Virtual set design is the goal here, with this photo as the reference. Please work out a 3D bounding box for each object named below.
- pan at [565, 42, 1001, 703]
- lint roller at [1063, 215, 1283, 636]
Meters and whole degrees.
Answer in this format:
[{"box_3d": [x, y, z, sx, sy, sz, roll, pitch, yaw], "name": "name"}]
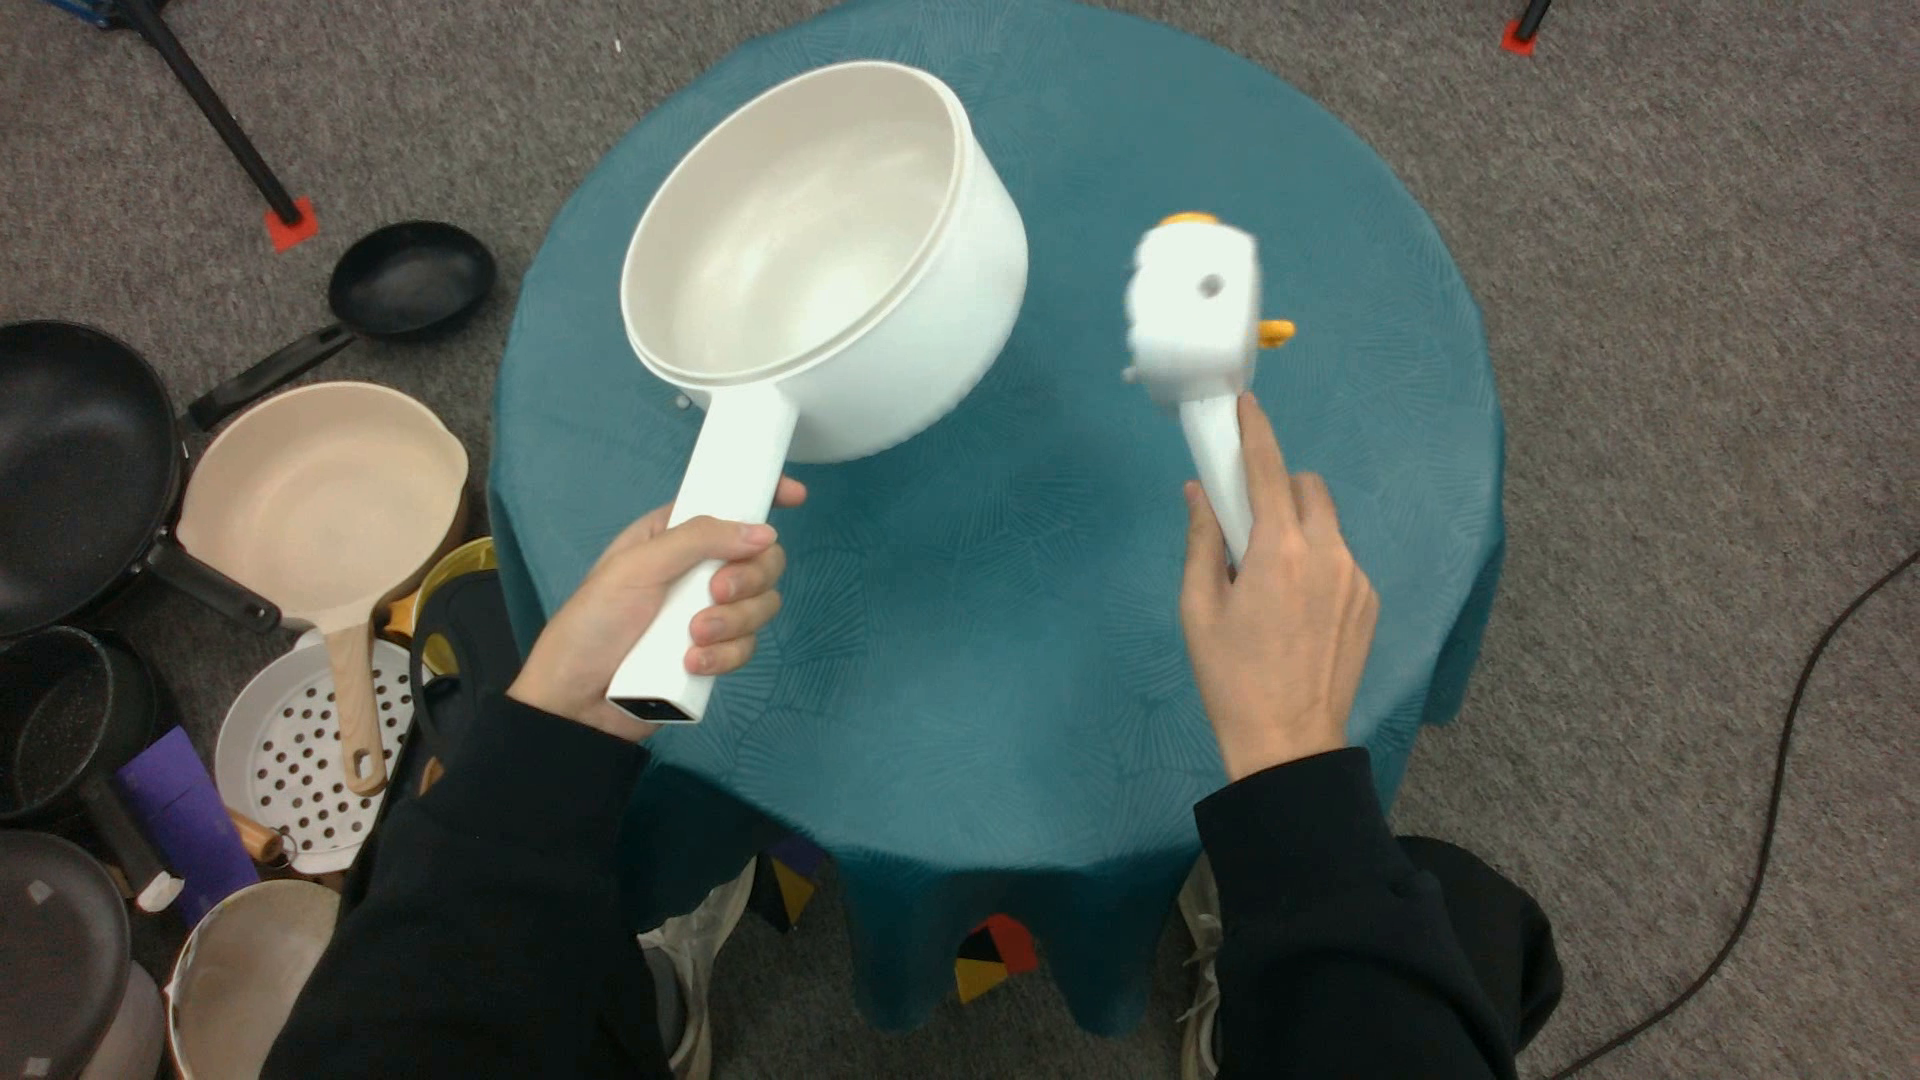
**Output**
[{"box_3d": [-0.093, -0.078, 0.672, 0.201, 0.102, 0.356, -2, 60, 28], "name": "pan"}, {"box_3d": [0.106, -0.048, 0.637, 0.074, 0.193, 0.192, -9, 93, 14], "name": "lint roller"}]
